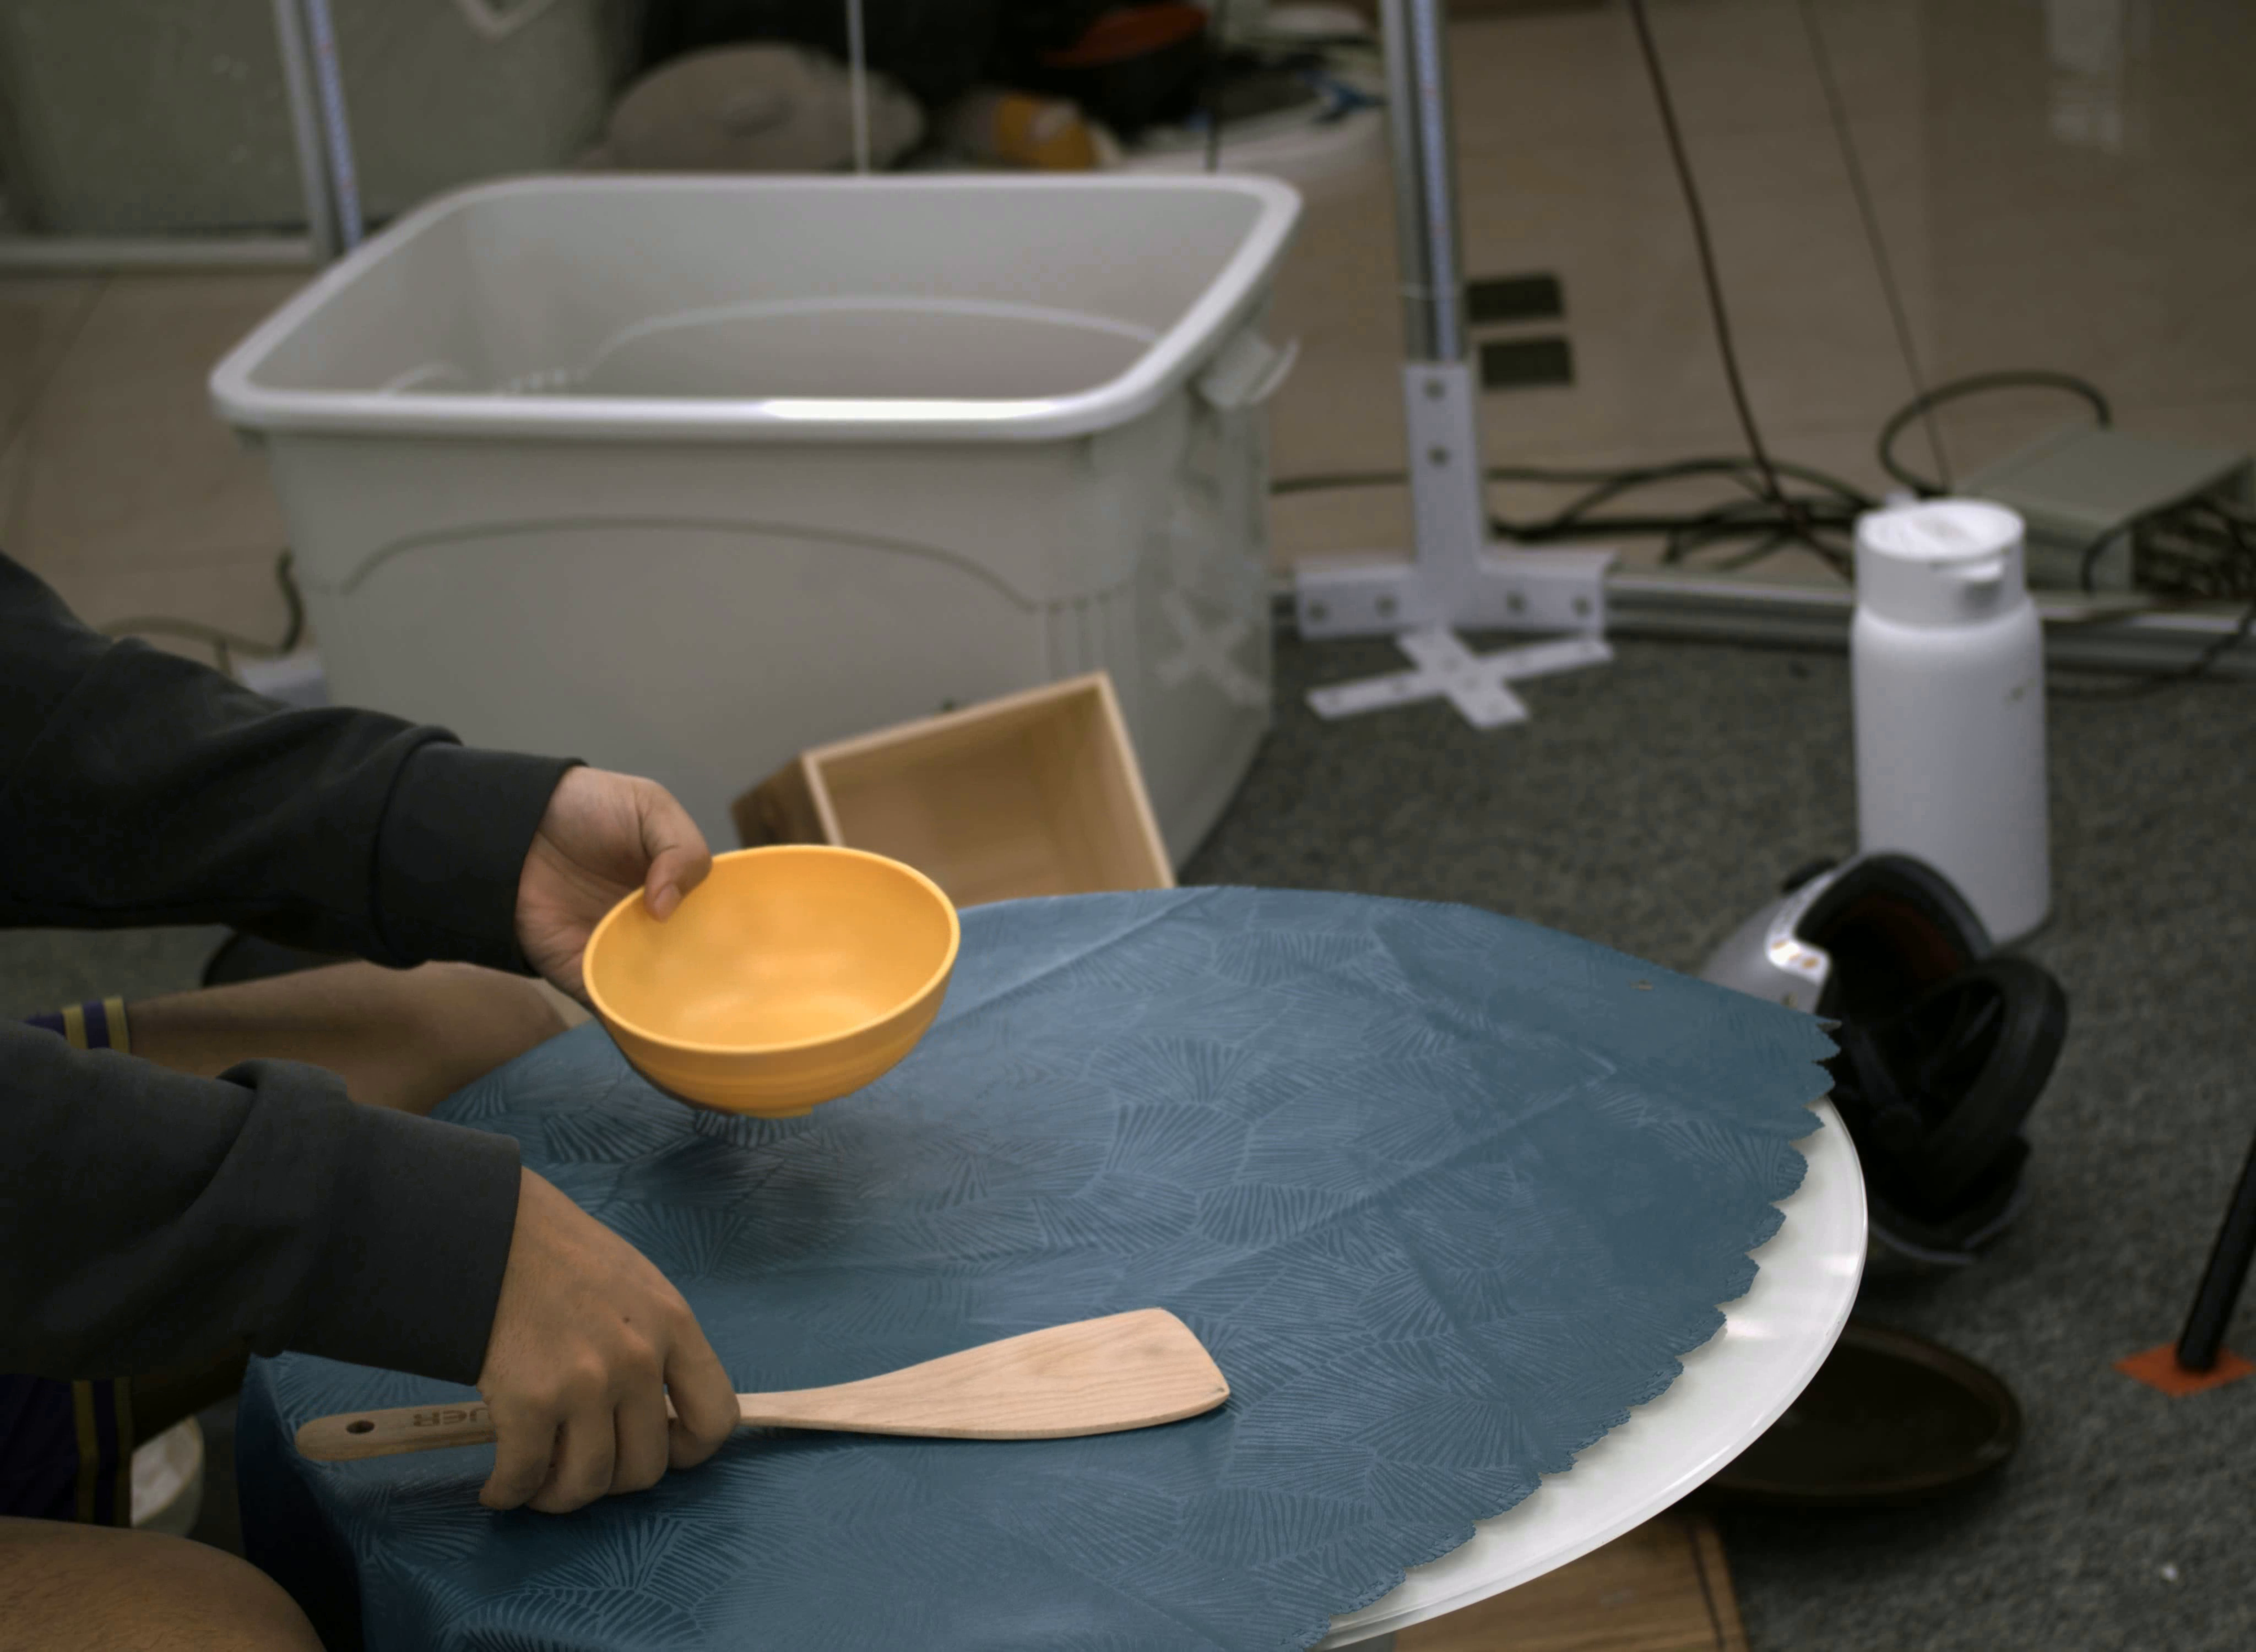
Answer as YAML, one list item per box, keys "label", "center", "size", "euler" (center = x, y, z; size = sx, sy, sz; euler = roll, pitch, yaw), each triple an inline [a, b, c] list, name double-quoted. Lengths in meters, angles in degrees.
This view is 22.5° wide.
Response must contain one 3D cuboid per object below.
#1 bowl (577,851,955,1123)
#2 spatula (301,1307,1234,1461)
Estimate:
- label: "bowl"
  center: [-0.137, 0.071, 2.174]
  size: [0.145, 0.061, 0.143]
  euler: [-3, 32, 2]
- label: "spatula"
  center: [-0.128, 0.202, 2.009]
  size: [0.327, 0.017, 0.079]
  euler: [-3, 24, -6]
